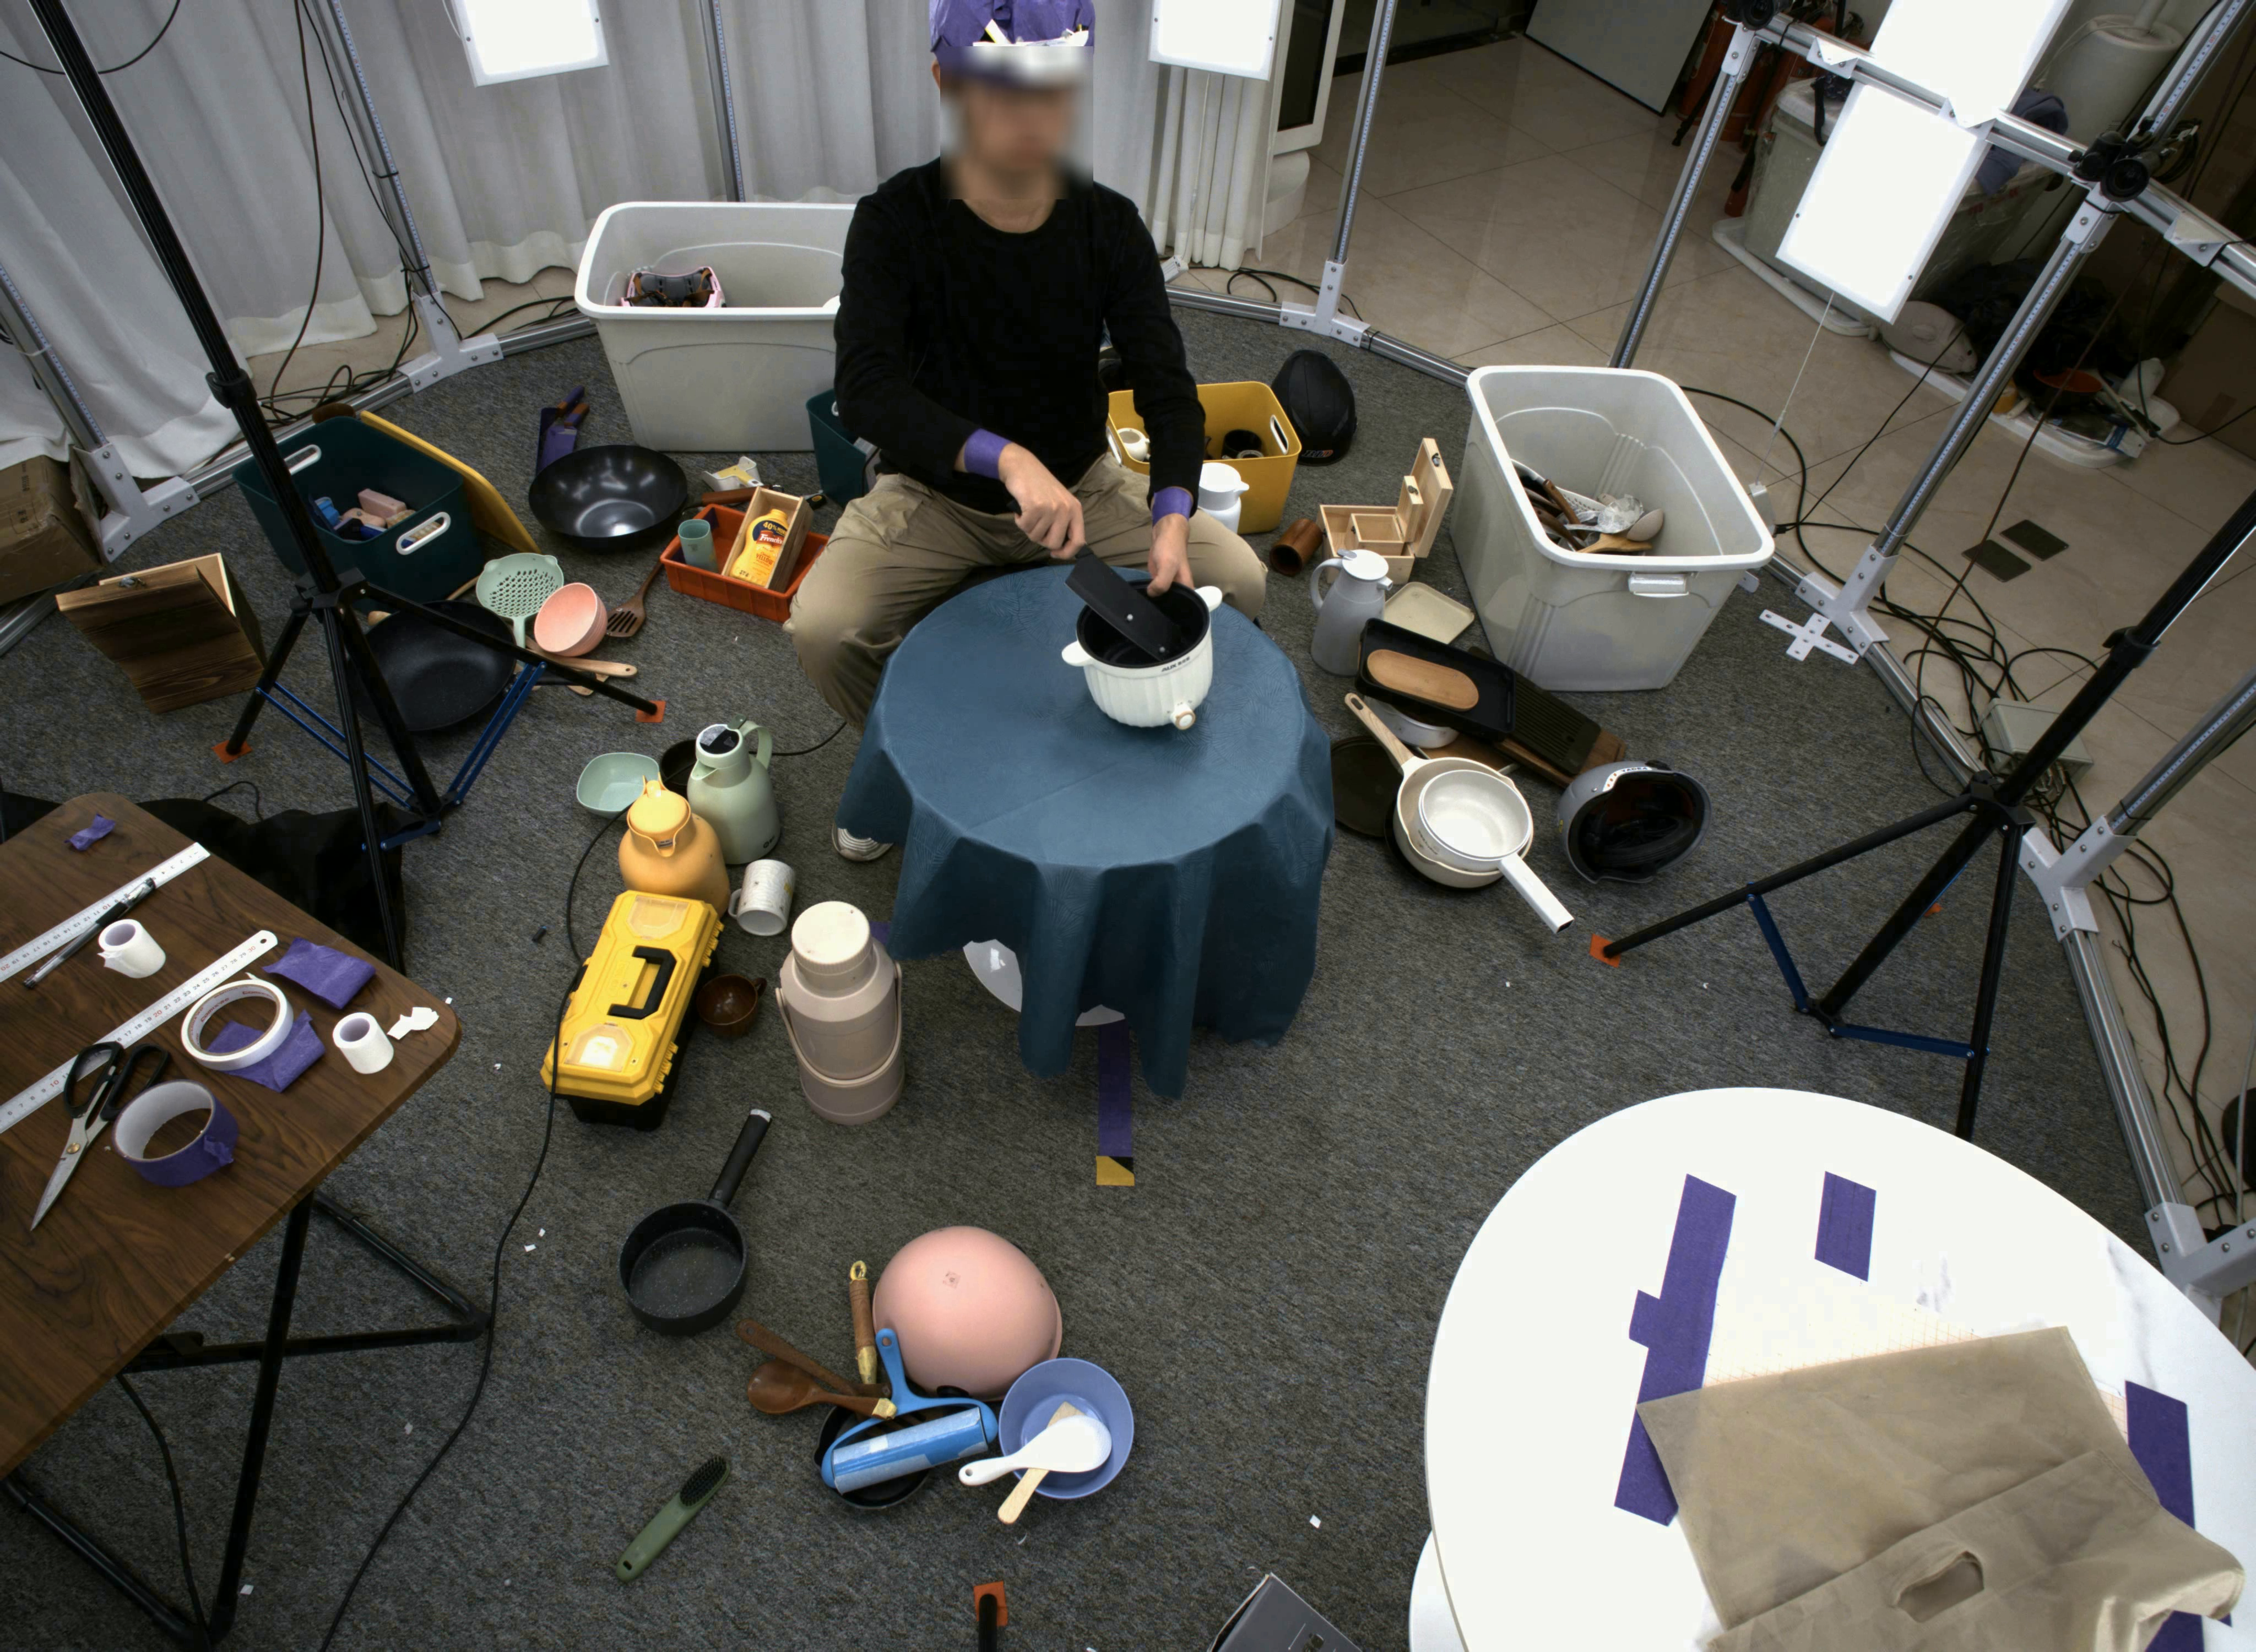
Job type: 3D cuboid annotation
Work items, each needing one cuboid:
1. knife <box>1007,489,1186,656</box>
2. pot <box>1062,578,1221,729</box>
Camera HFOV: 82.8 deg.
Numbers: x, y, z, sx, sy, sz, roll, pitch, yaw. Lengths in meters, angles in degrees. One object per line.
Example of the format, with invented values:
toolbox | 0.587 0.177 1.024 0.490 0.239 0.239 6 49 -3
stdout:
knife | -0.043 -0.344 1.743 0.299 0.021 0.082 41 65 -15
pot | 0.031 -0.229 1.767 0.241 0.139 0.195 -26 46 -13
